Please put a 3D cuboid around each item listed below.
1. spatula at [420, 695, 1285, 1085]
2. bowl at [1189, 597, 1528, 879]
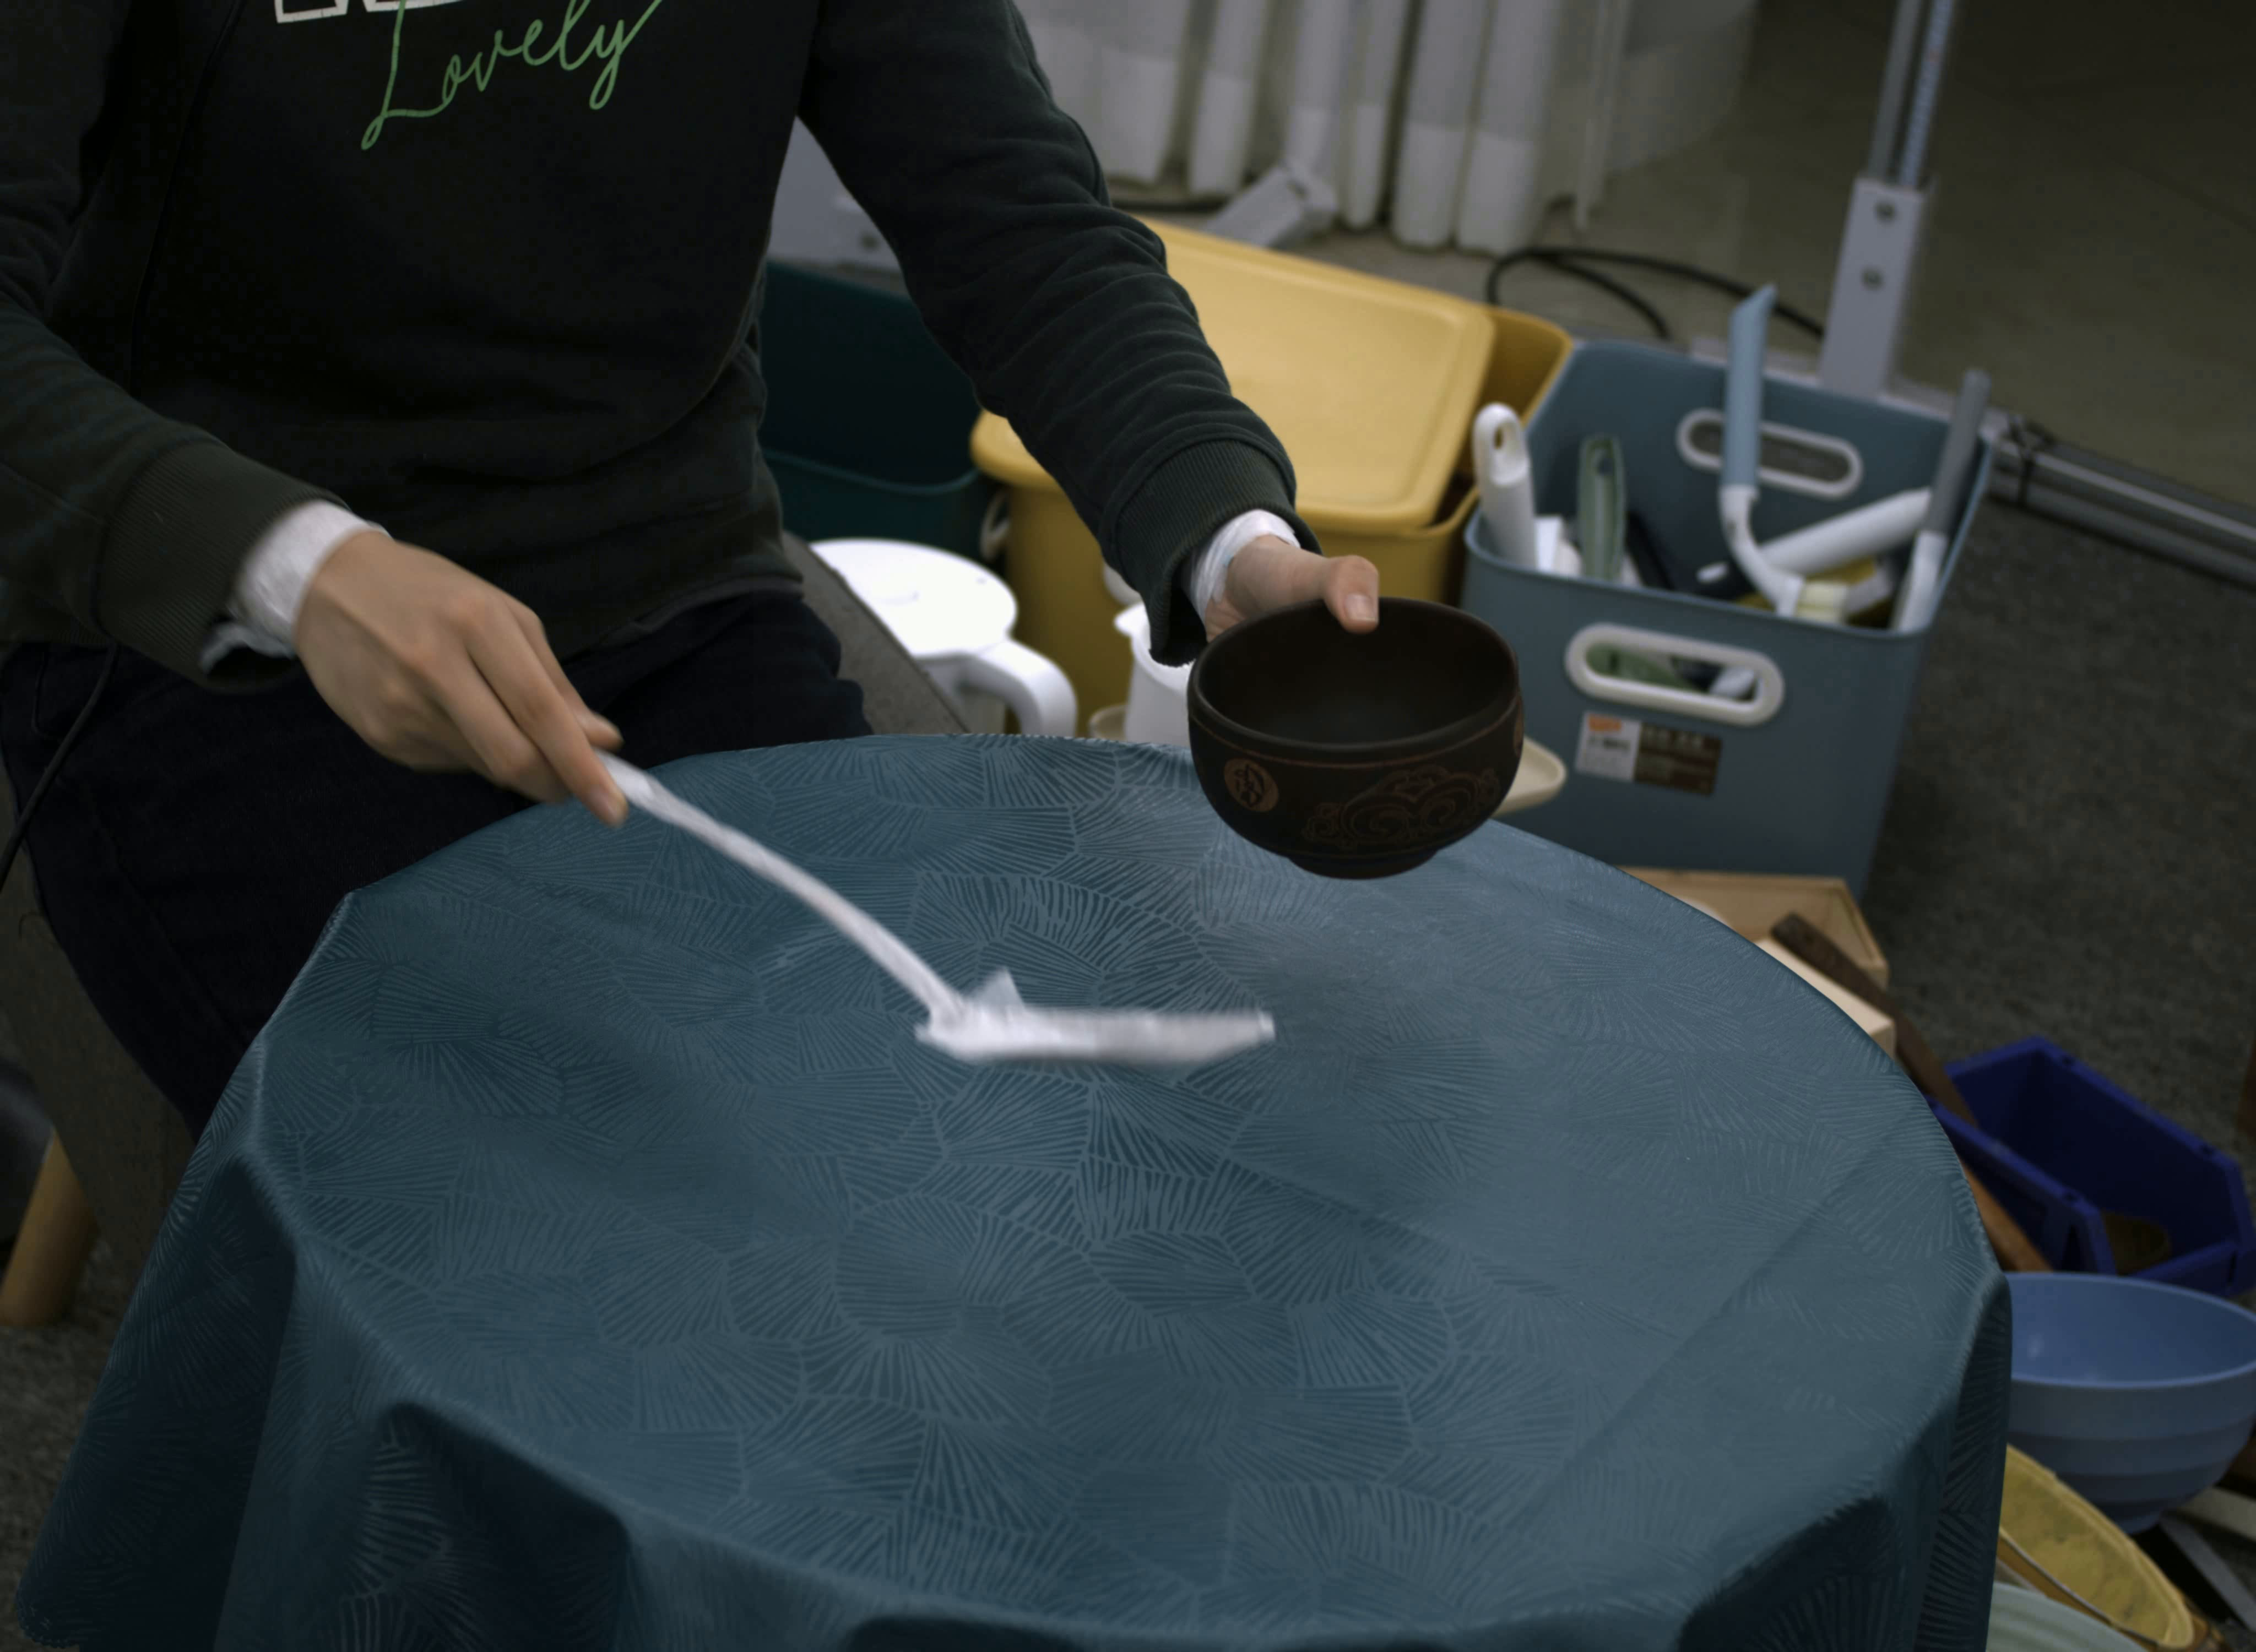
[{"bbox_3d":[-0.109,0.014,1.722,0.367,0.045,0.098,30,23,33],"label":"spatula"},{"bbox_3d":[0.081,-0.025,1.855,0.118,0.069,0.119,-2,27,1],"label":"bowl"}]
